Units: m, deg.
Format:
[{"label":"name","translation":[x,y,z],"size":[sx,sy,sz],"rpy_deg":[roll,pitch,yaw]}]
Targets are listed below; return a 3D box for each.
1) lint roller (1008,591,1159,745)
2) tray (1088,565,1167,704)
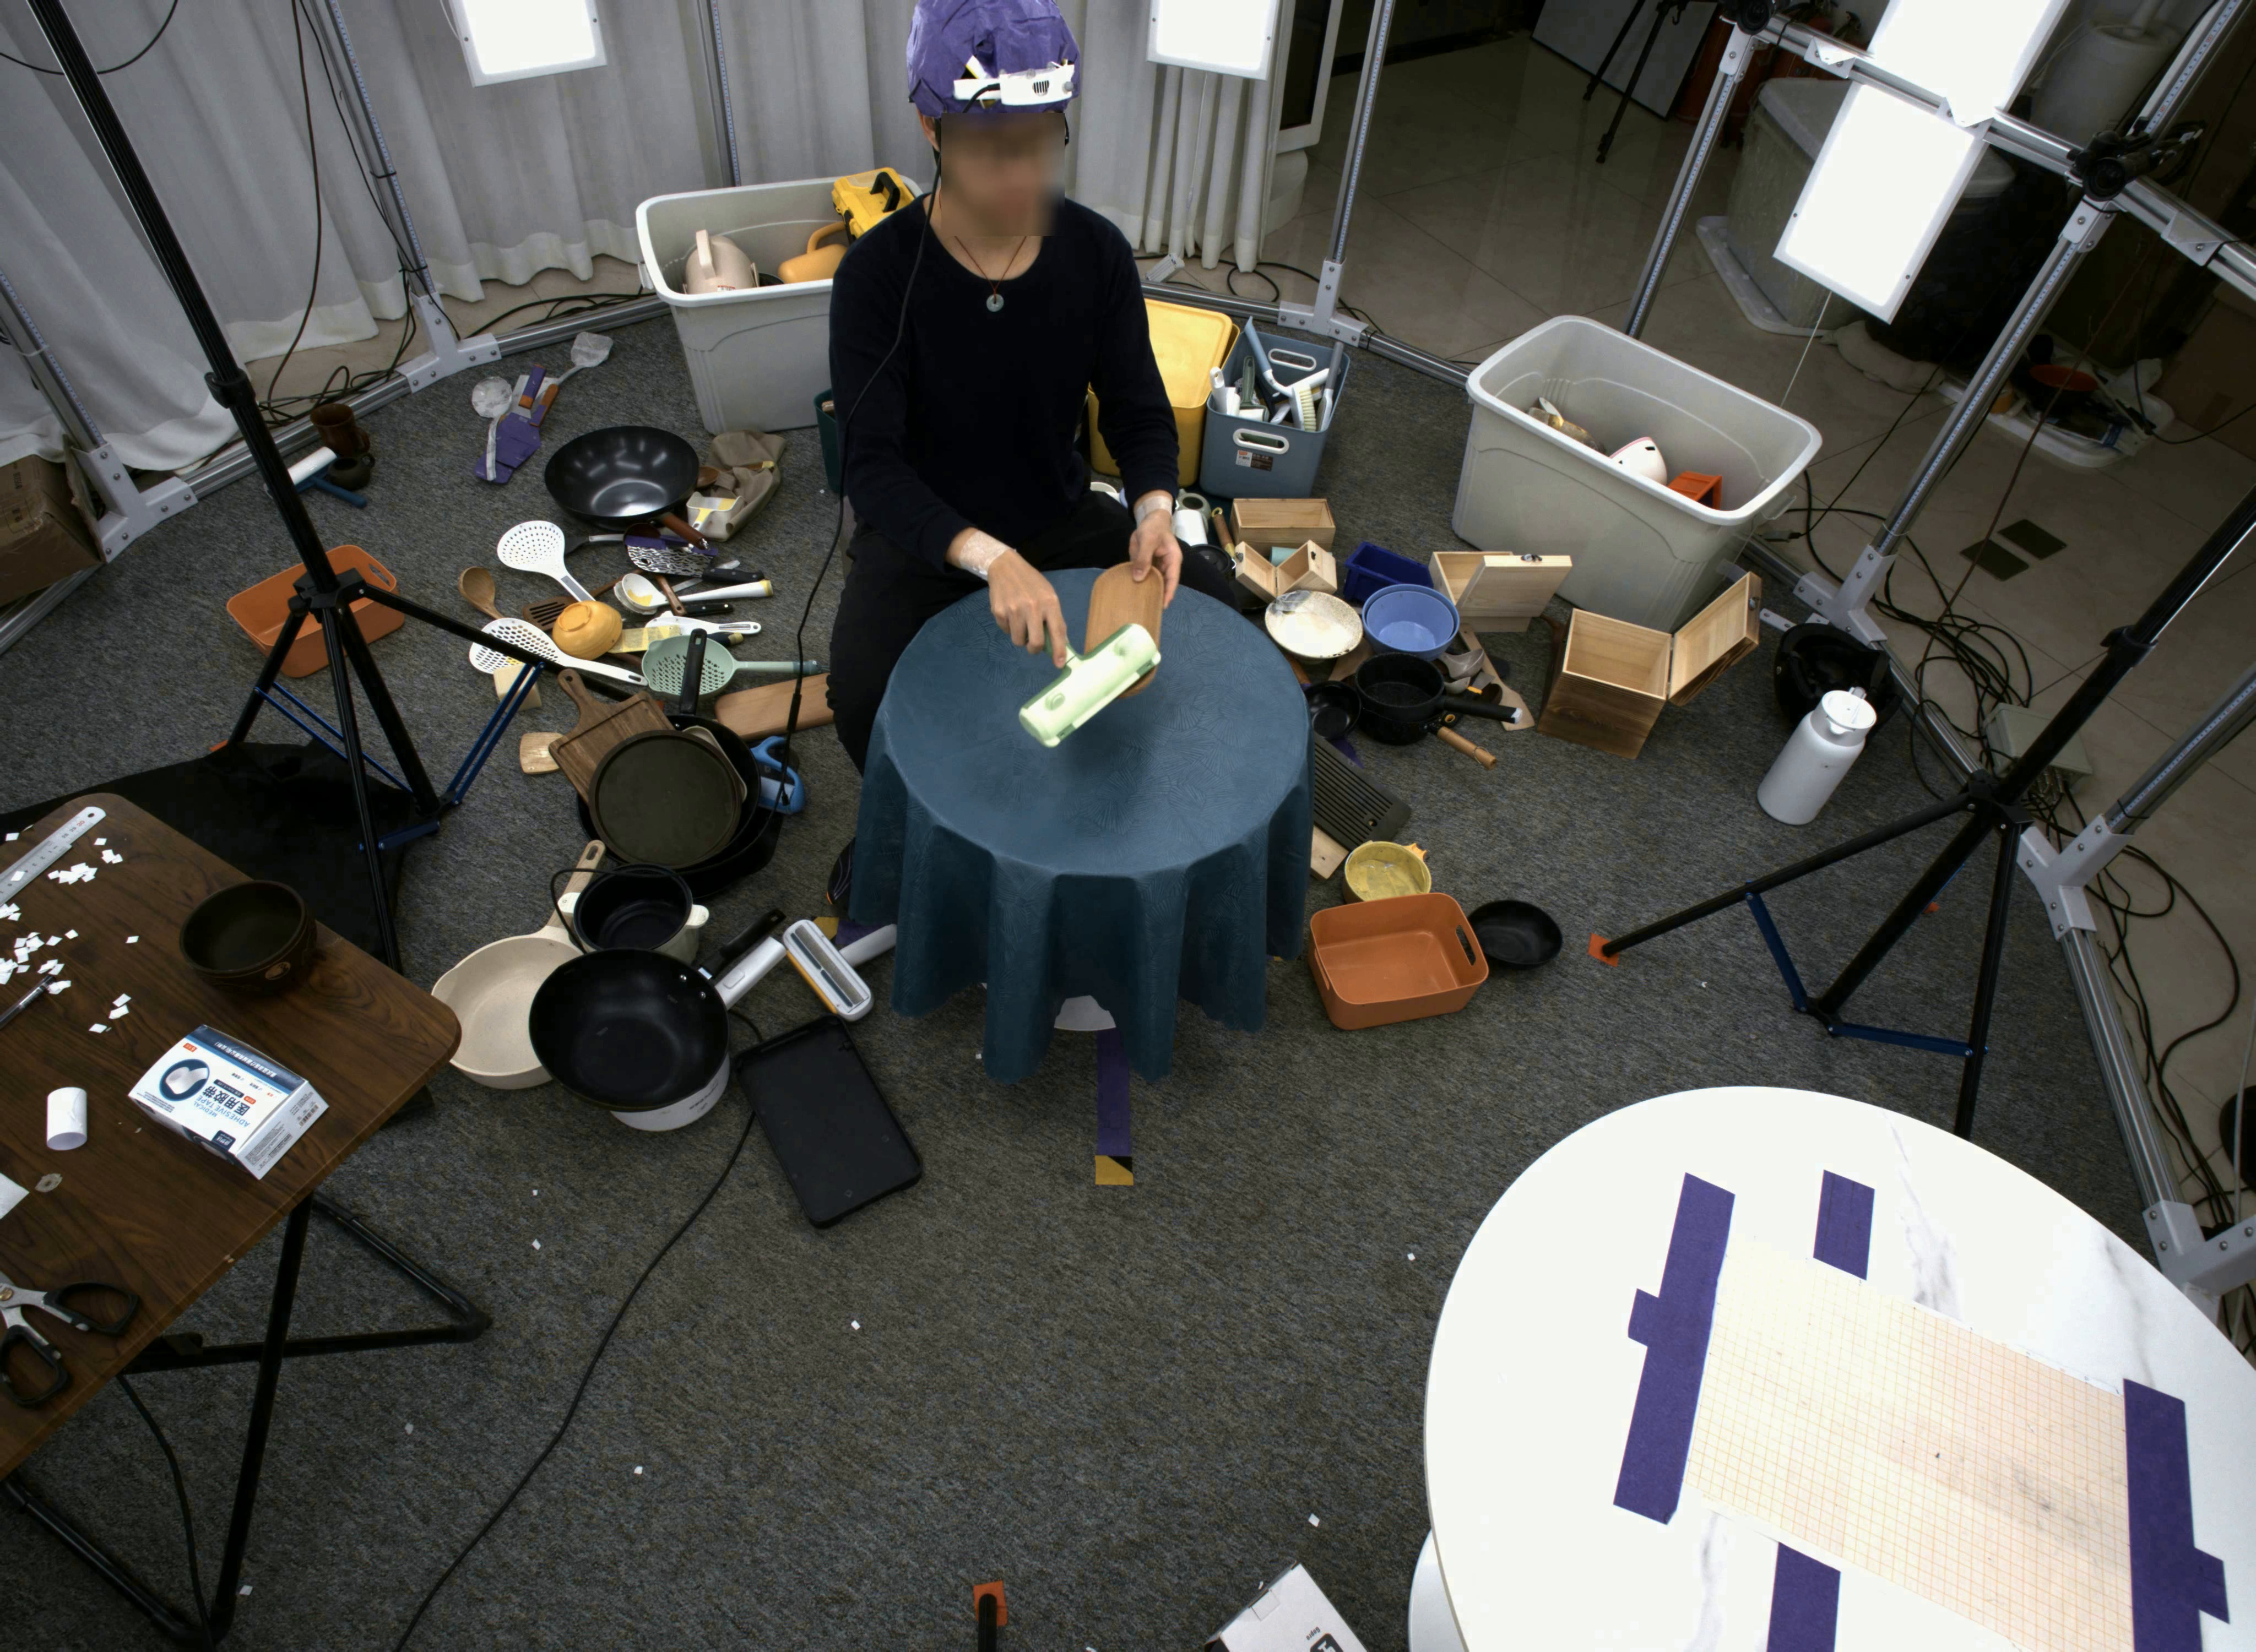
[{"label":"lint roller","translation":[-0.083,-0.229,1.615],"size":[0.200,0.082,0.183],"rpy_deg":[-41,95,-17]},{"label":"tray","translation":[-0.001,-0.256,1.700],"size":[0.102,0.020,0.236],"rpy_deg":[-5,56,15]}]
